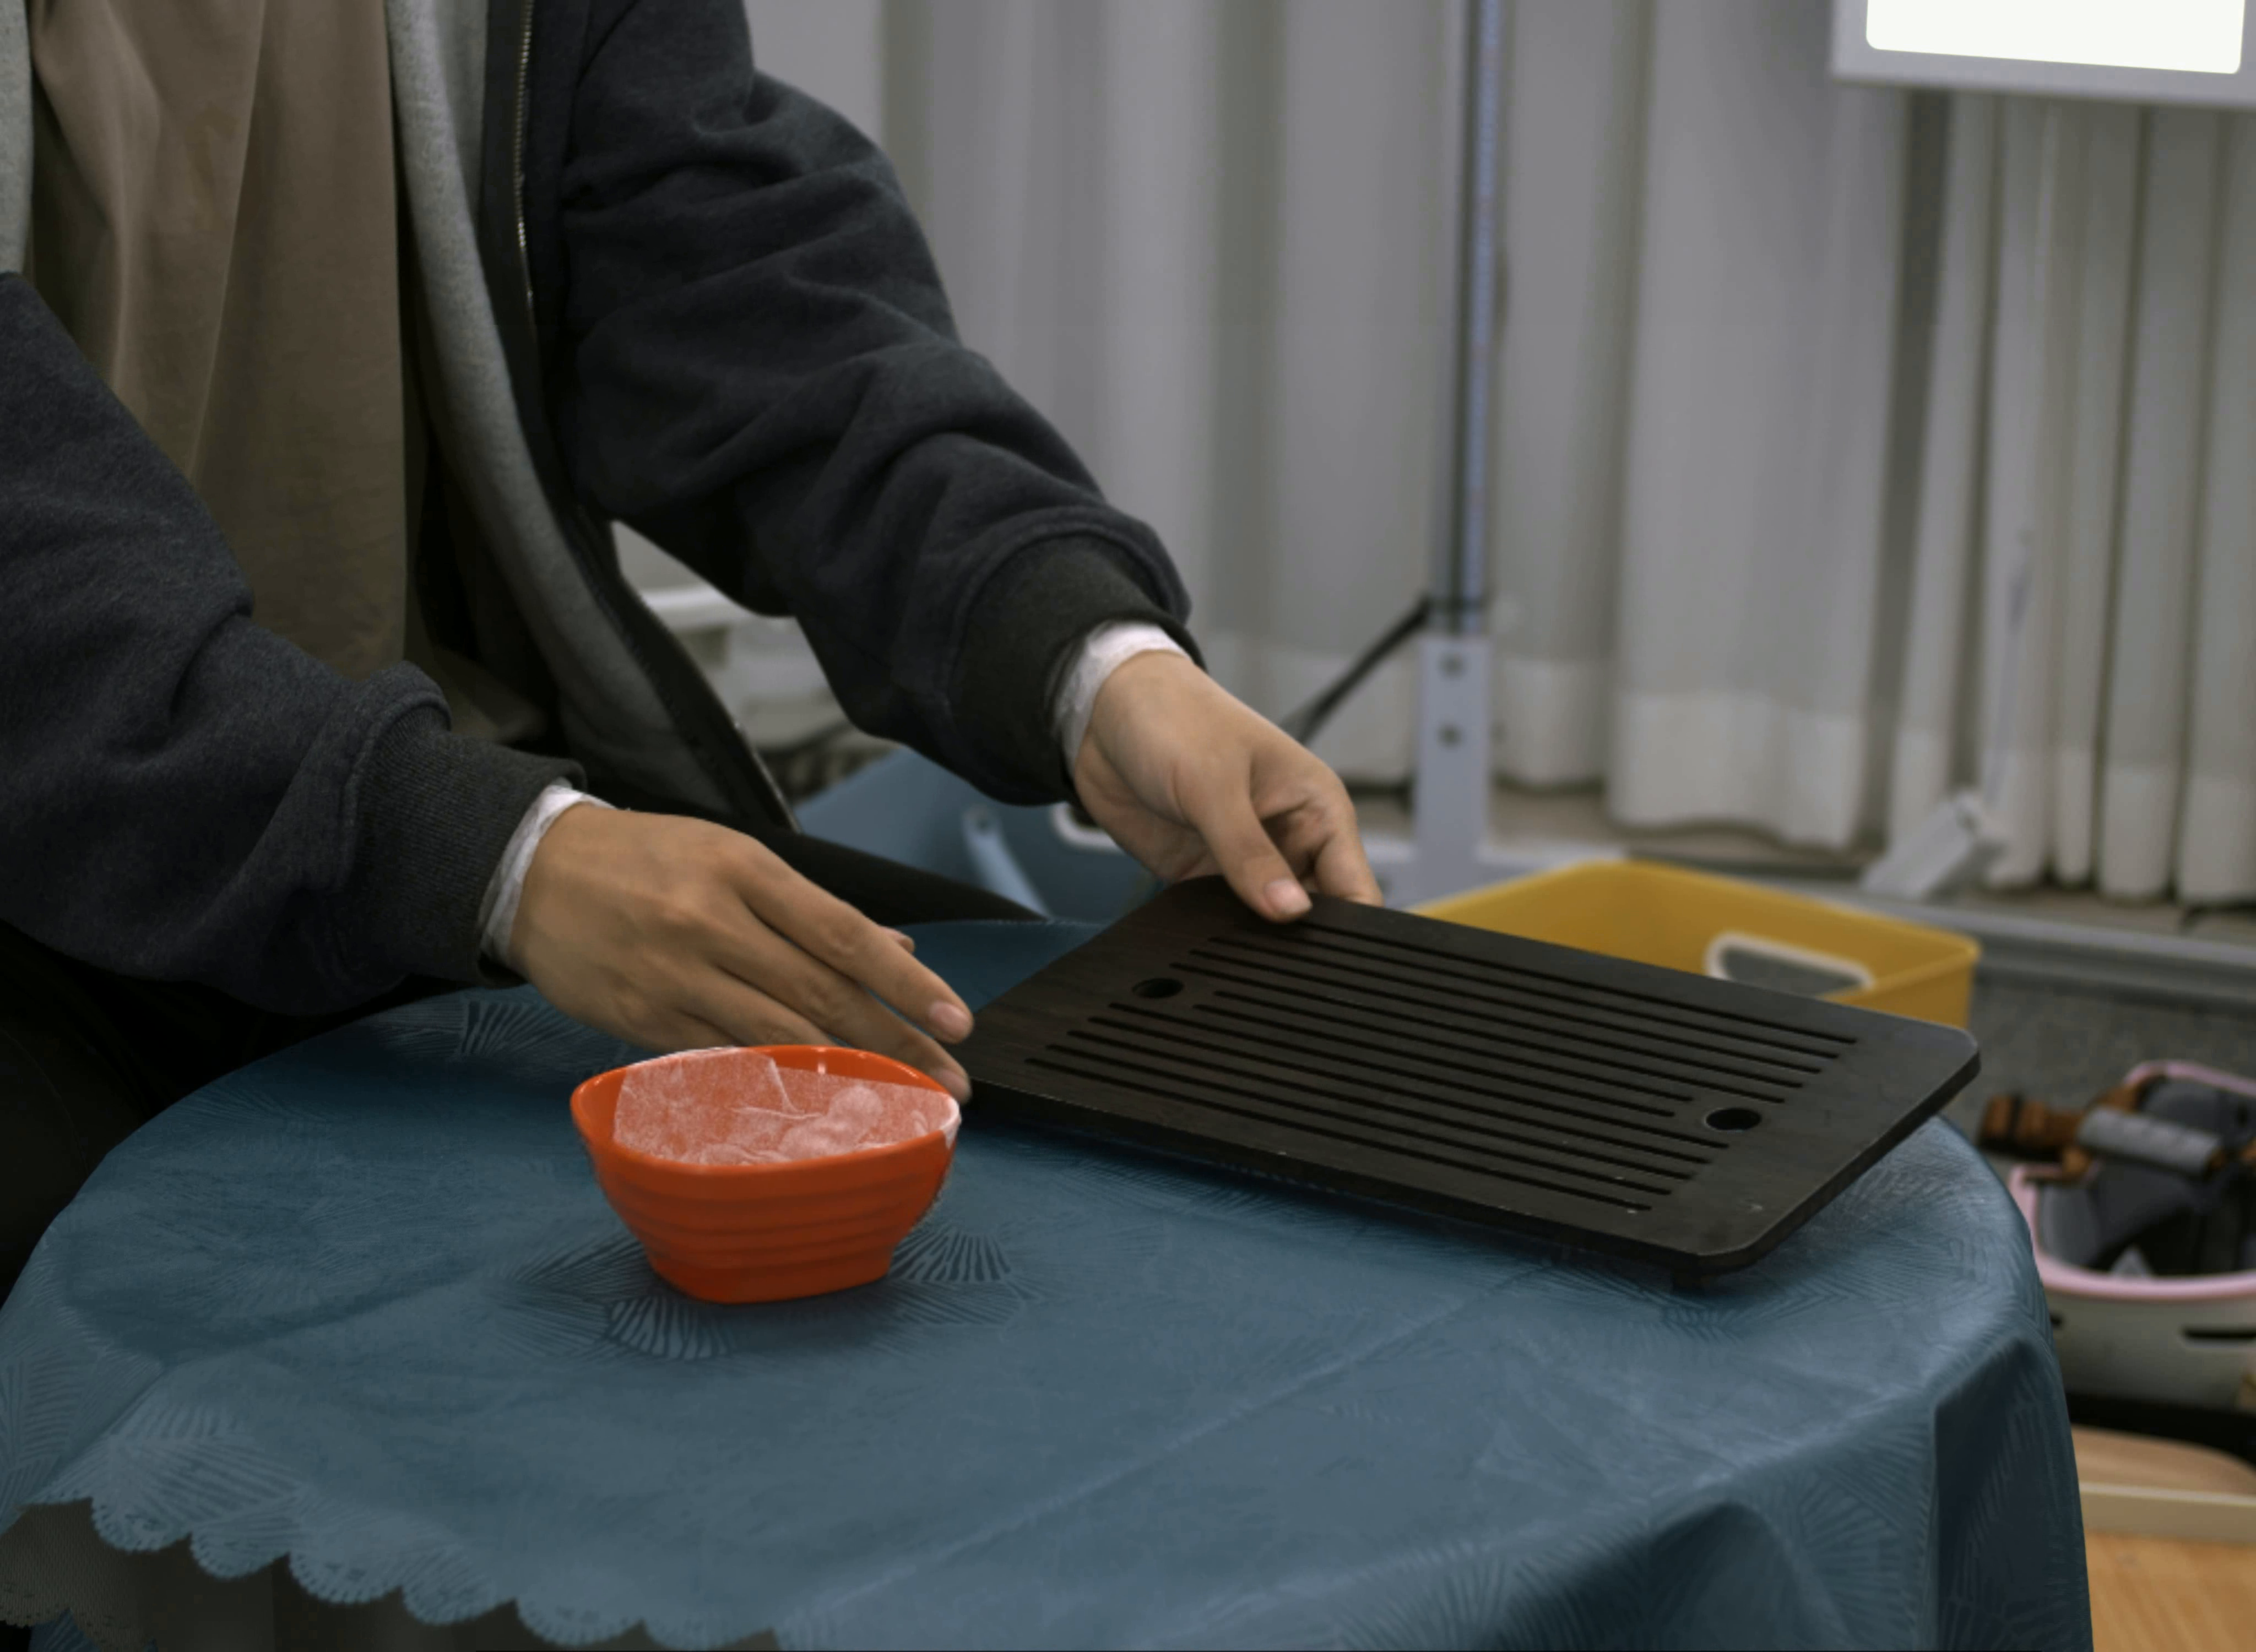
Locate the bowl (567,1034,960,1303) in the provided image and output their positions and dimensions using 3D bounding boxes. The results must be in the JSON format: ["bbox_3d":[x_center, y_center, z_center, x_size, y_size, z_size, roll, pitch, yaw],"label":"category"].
[{"bbox_3d":[-0.107,0.103,1.551,0.118,0.052,0.118,0,17,0],"label":"bowl"}]

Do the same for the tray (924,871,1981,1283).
[{"bbox_3d":[0.101,0.076,1.672,0.302,0.019,0.170,11,28,33],"label":"tray"}]
